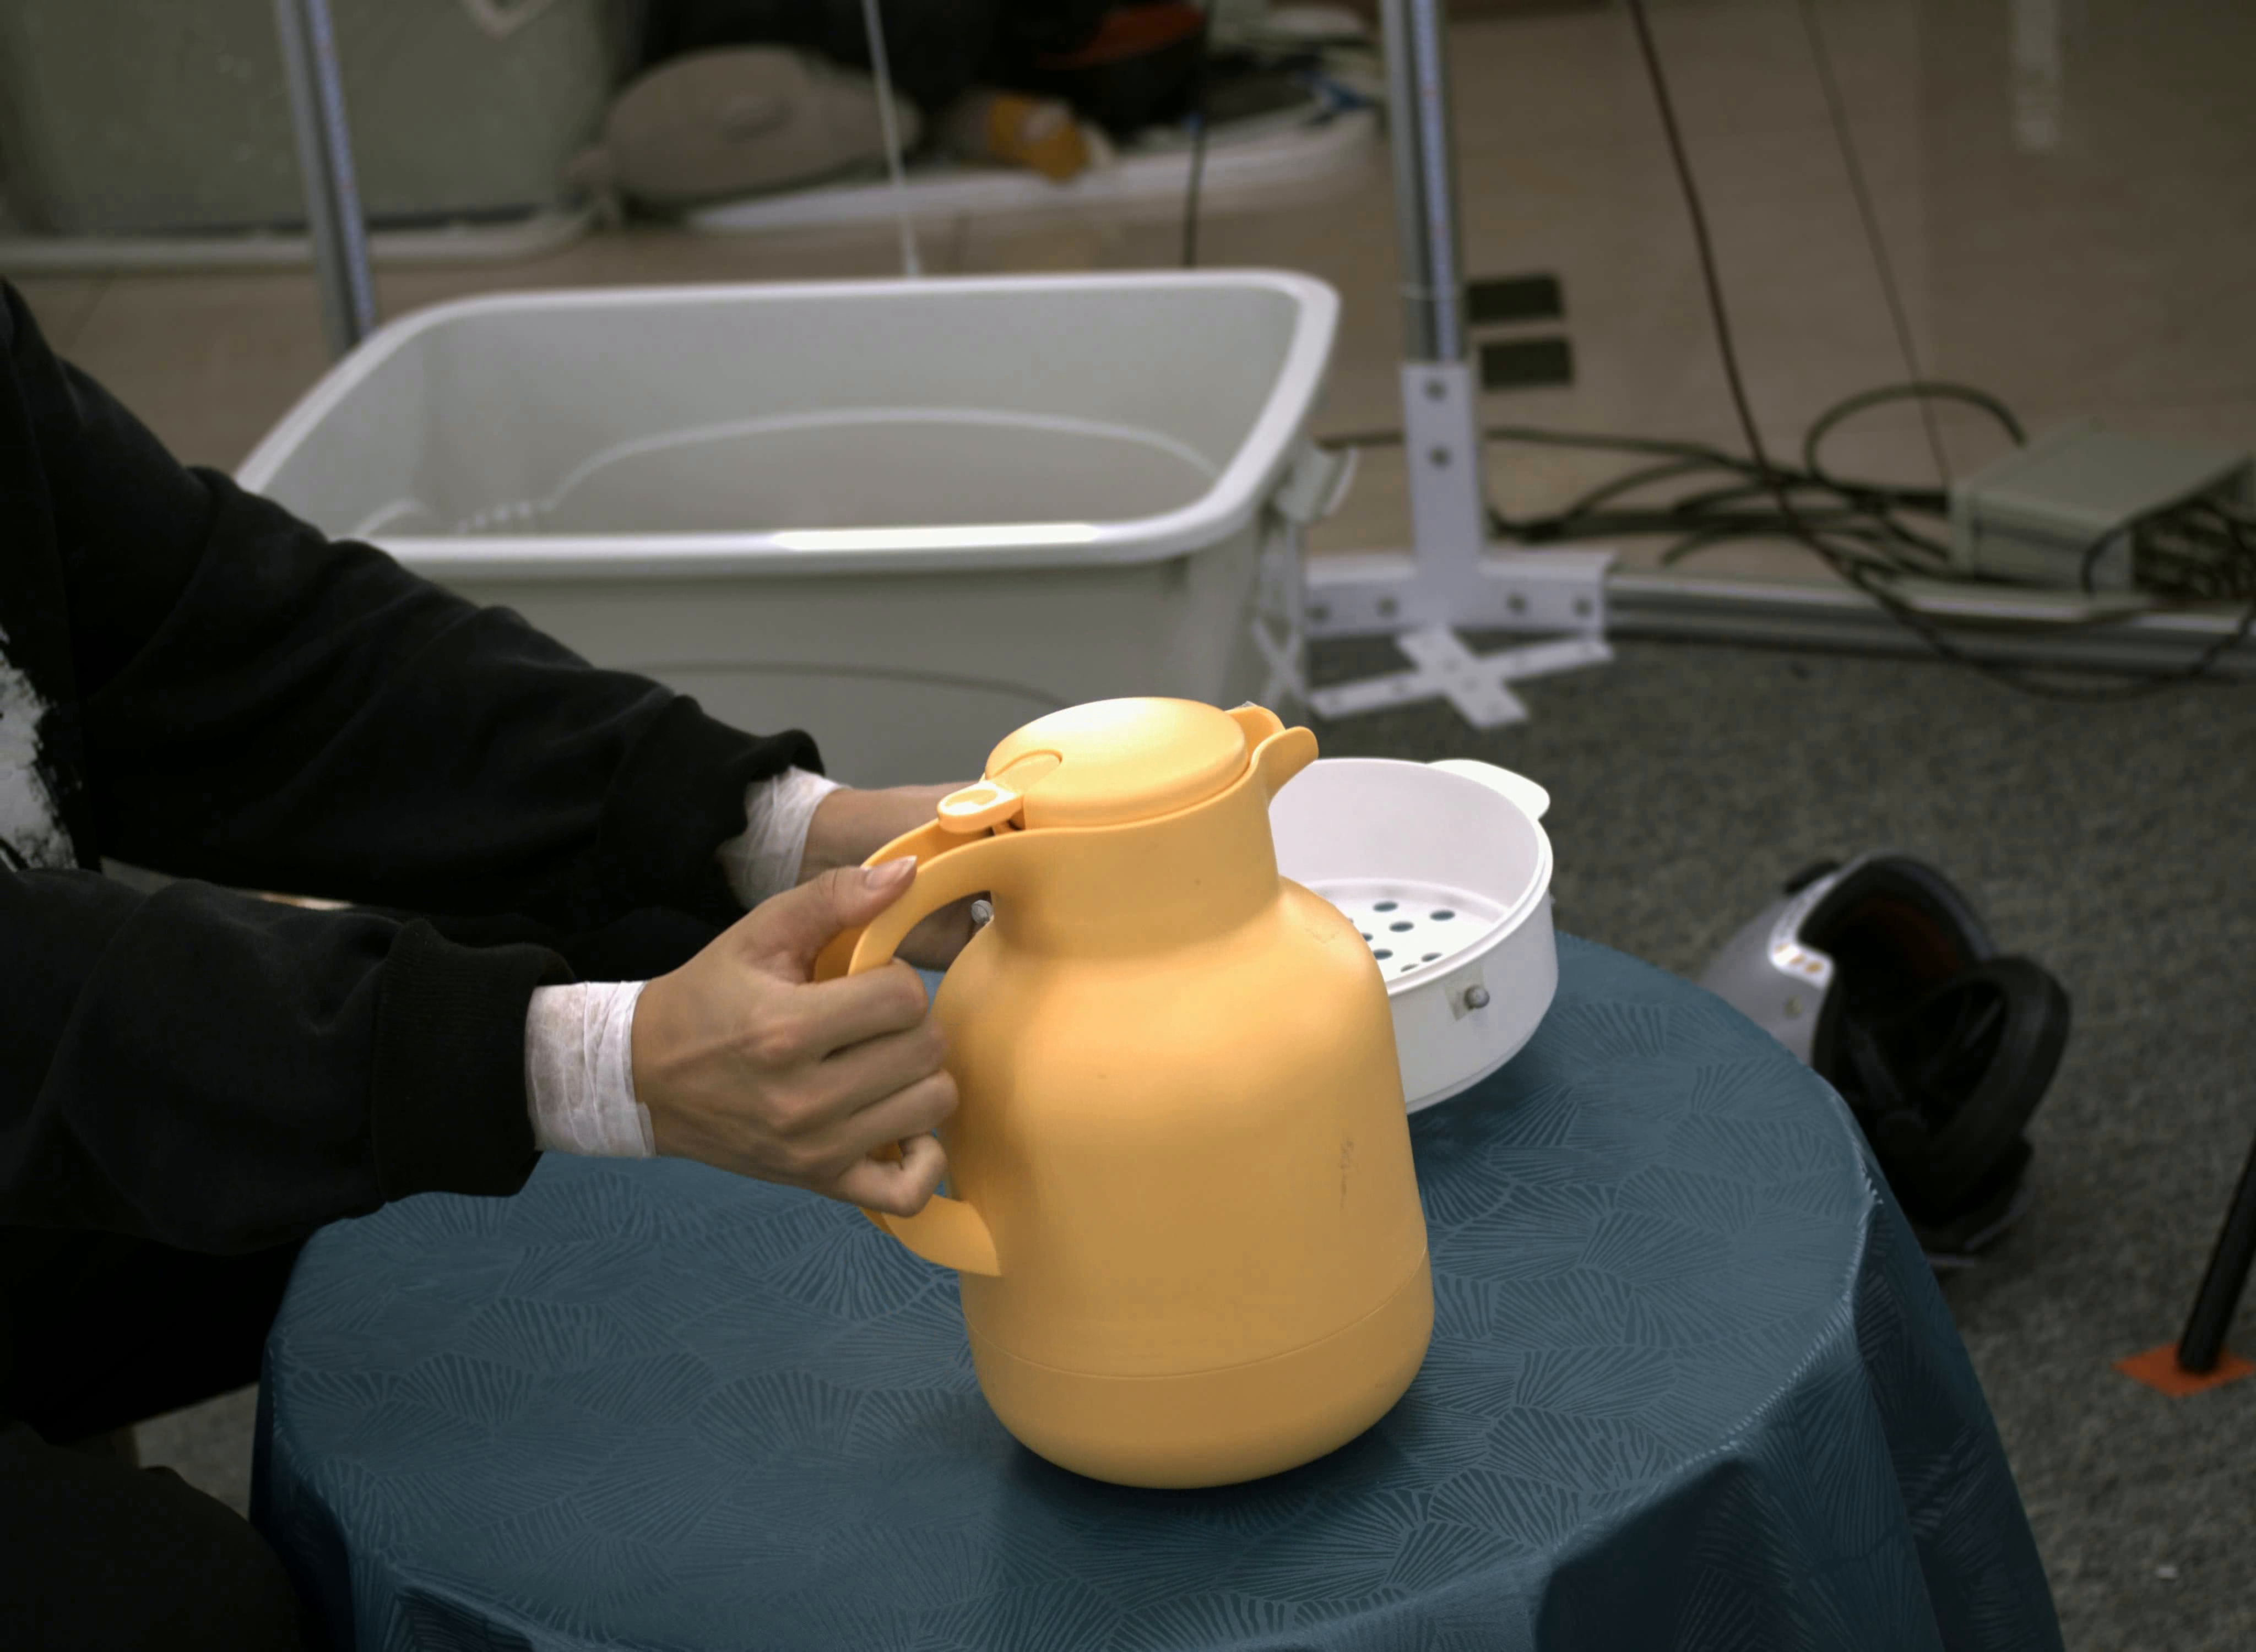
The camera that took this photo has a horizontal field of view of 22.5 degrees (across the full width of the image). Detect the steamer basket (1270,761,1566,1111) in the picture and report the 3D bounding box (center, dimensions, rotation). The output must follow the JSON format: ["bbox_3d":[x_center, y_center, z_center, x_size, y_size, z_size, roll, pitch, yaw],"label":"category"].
[{"bbox_3d":[0.072,0.046,2.203,0.229,0.070,0.200,-25,29,-30],"label":"steamer basket"}]

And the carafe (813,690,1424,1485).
[{"bbox_3d":[-0.006,0.090,1.935,0.201,0.264,0.162,-17,22,-23],"label":"carafe"}]
